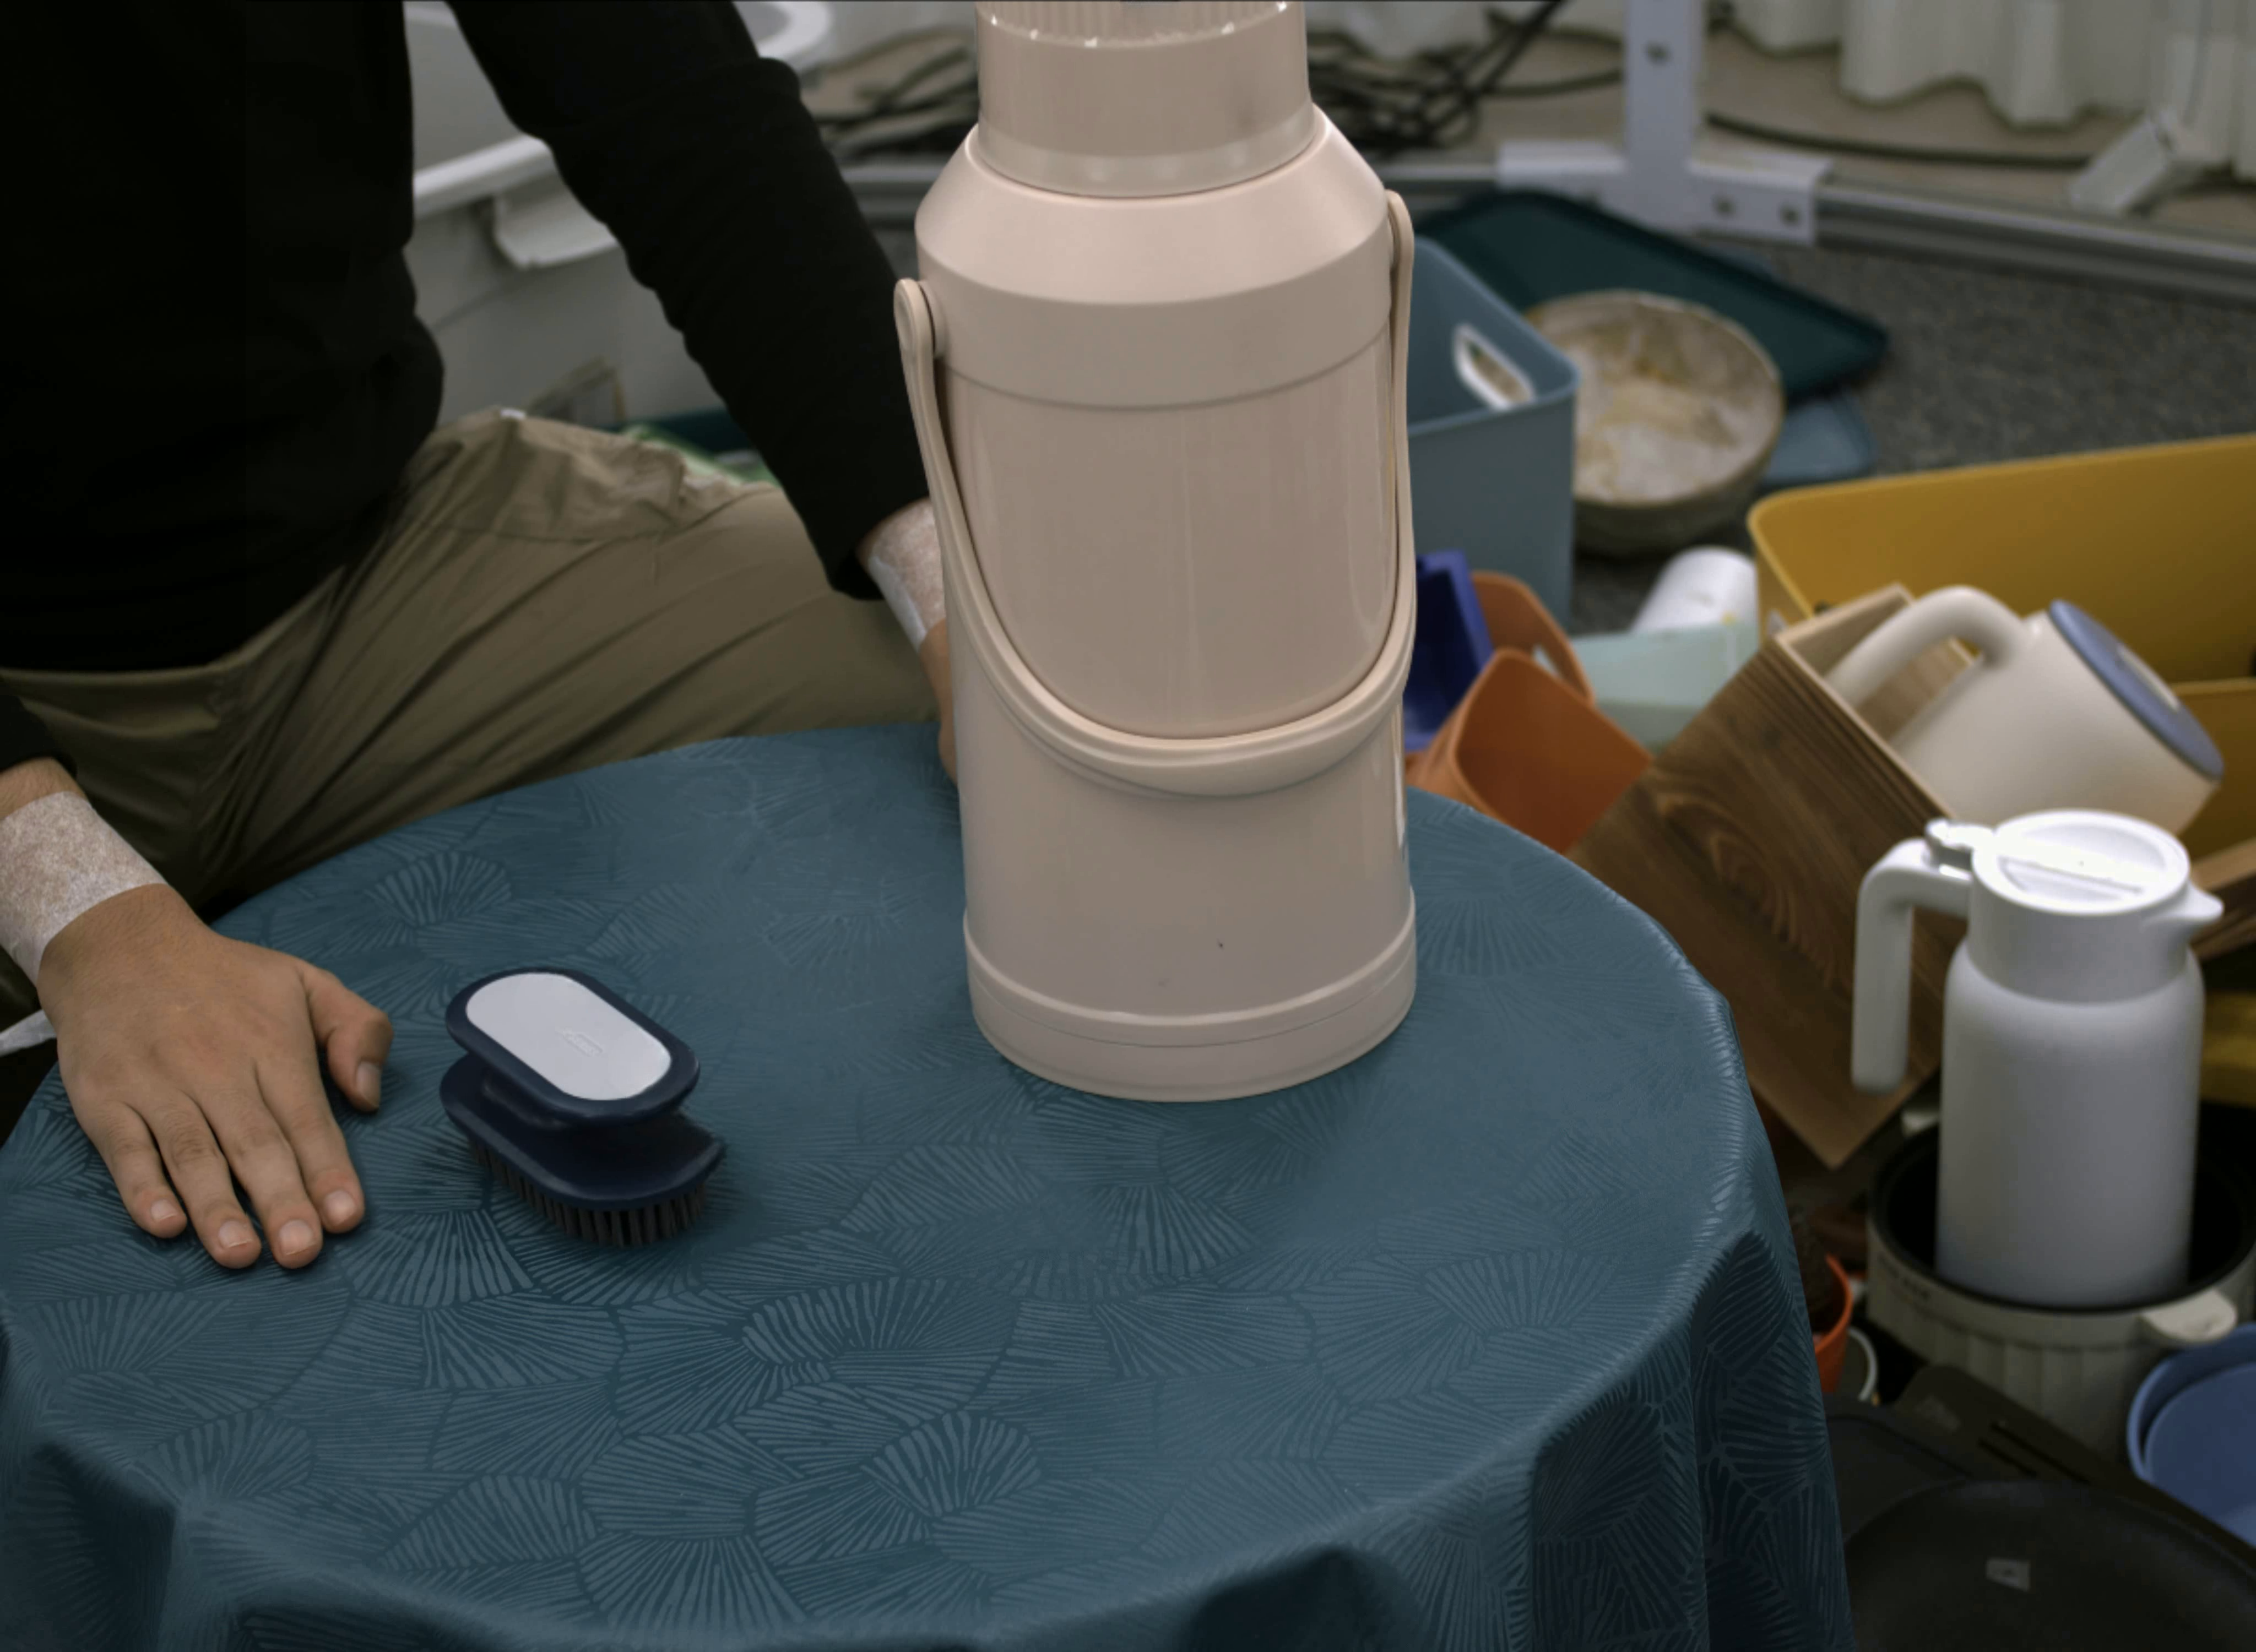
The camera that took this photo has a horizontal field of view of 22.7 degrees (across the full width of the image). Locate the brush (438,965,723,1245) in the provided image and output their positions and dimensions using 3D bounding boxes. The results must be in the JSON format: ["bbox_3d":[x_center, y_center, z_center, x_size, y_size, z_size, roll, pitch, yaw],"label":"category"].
[{"bbox_3d":[-0.183,0.095,1.872,0.068,0.060,0.122,-17,30,-31],"label":"brush"}]

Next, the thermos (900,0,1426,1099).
[{"bbox_3d":[0.011,-0.124,1.909,0.176,0.402,0.209,-13,28,-16],"label":"thermos"}]
